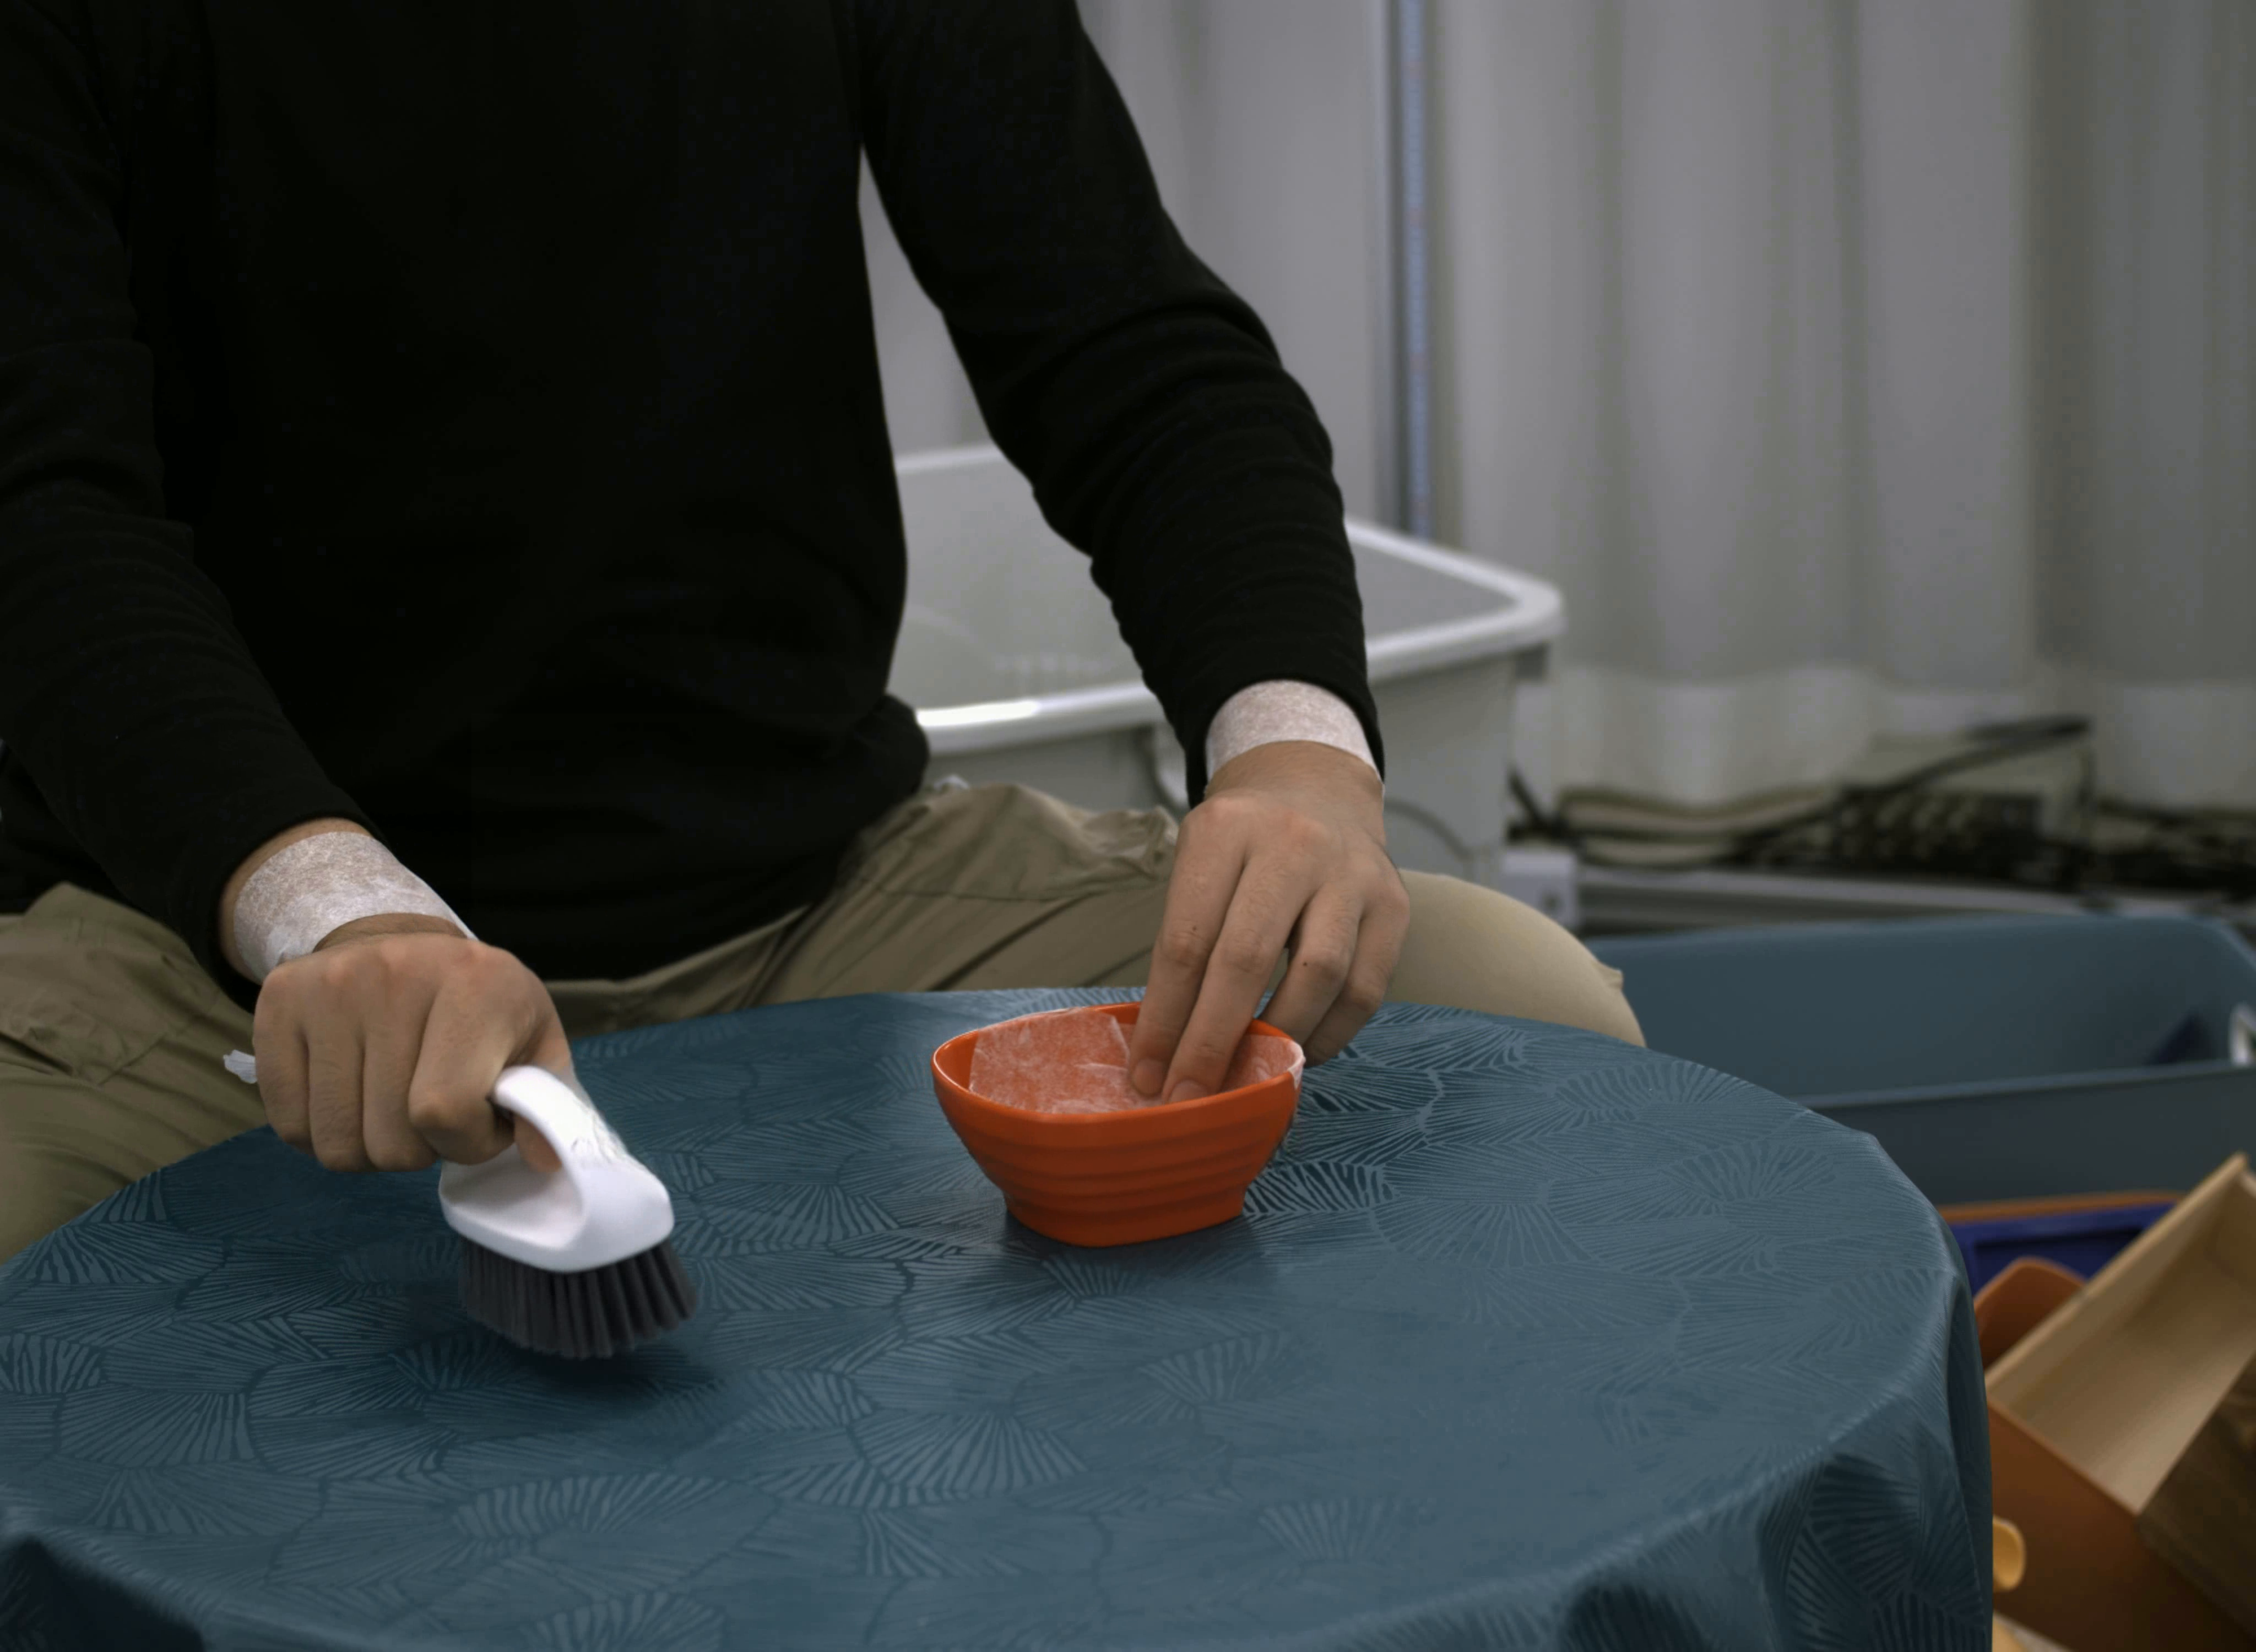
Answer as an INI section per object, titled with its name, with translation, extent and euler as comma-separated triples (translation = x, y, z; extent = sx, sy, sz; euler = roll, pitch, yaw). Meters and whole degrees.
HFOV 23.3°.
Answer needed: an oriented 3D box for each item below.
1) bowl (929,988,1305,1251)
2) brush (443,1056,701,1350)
[bowl]
translation = -0.003, 0.093, 1.692
extent = 0.118, 0.051, 0.120
euler = -3, 18, 1
[brush]
translation = -0.167, 0.103, 1.583
extent = 0.050, 0.072, 0.100
euler = -22, 18, -25
